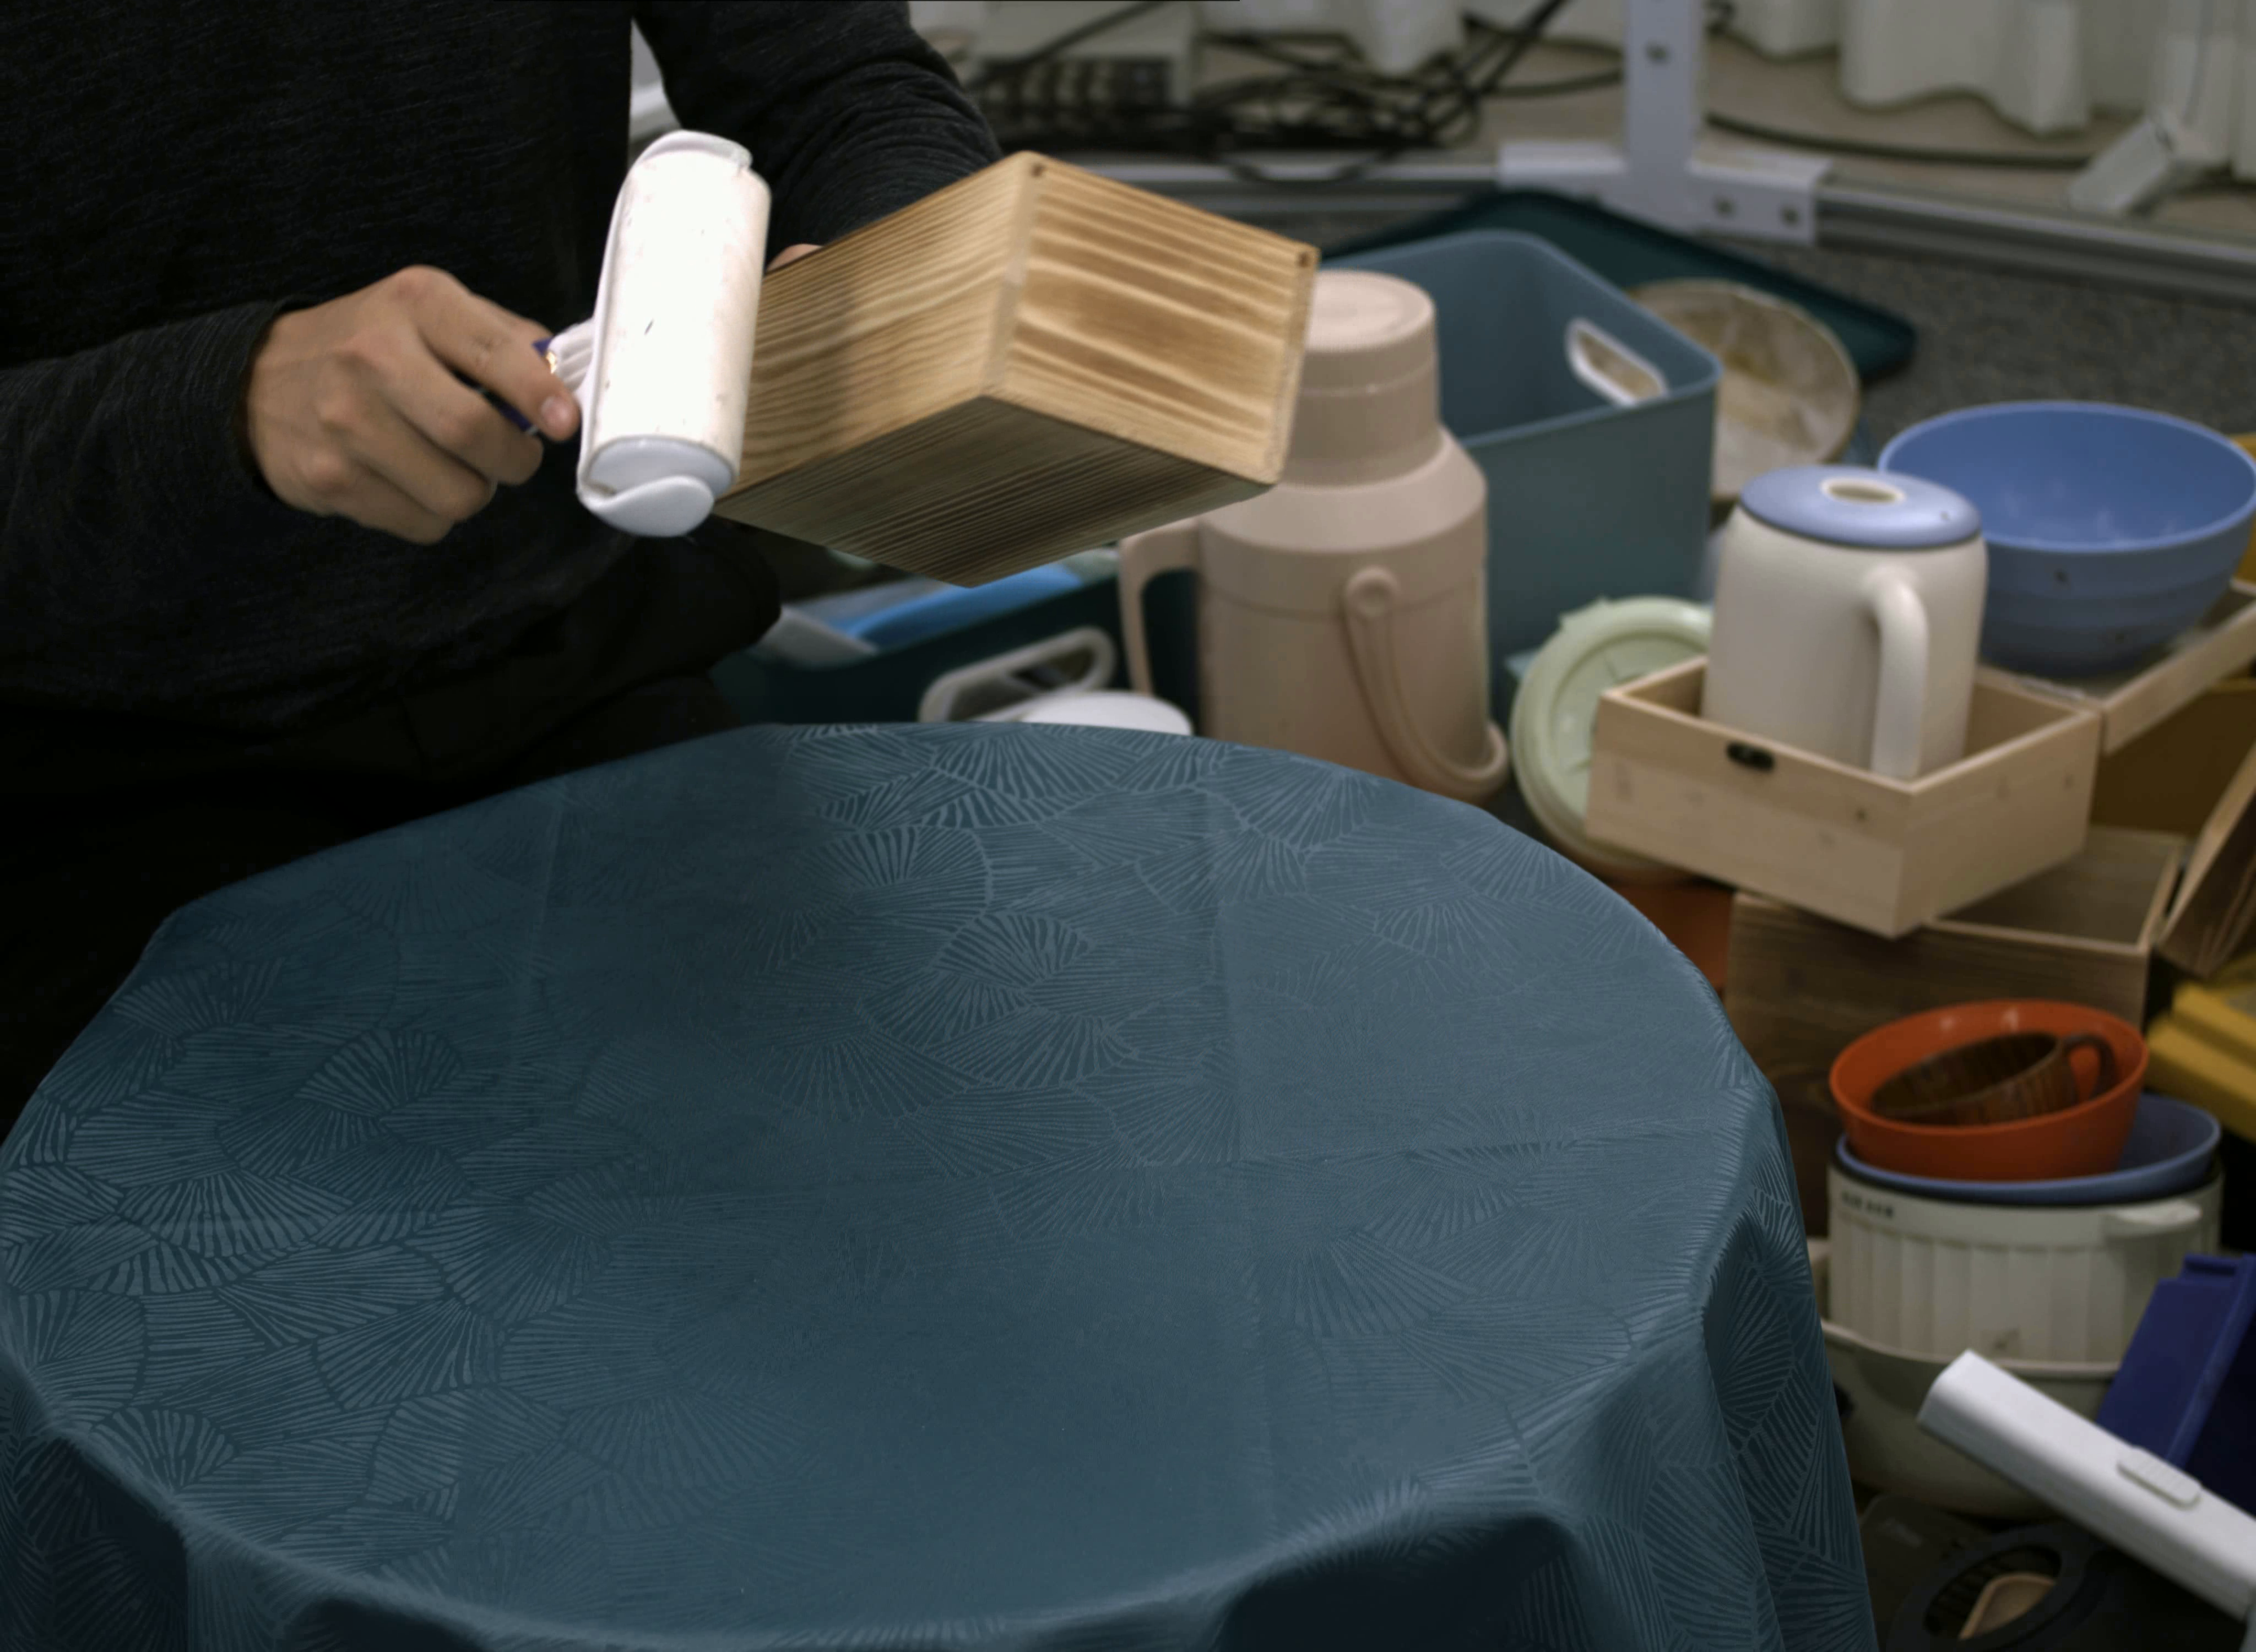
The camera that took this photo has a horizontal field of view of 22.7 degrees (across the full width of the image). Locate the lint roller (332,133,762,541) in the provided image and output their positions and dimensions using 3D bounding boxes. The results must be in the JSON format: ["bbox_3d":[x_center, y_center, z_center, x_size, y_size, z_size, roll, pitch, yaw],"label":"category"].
[{"bbox_3d":[-0.195,-0.144,1.793,0.178,0.050,0.135,-10,63,31],"label":"lint roller"}]

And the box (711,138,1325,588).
[{"bbox_3d":[-0.039,-0.144,1.811,0.107,0.081,0.209,16,-16,-27],"label":"box"}]
